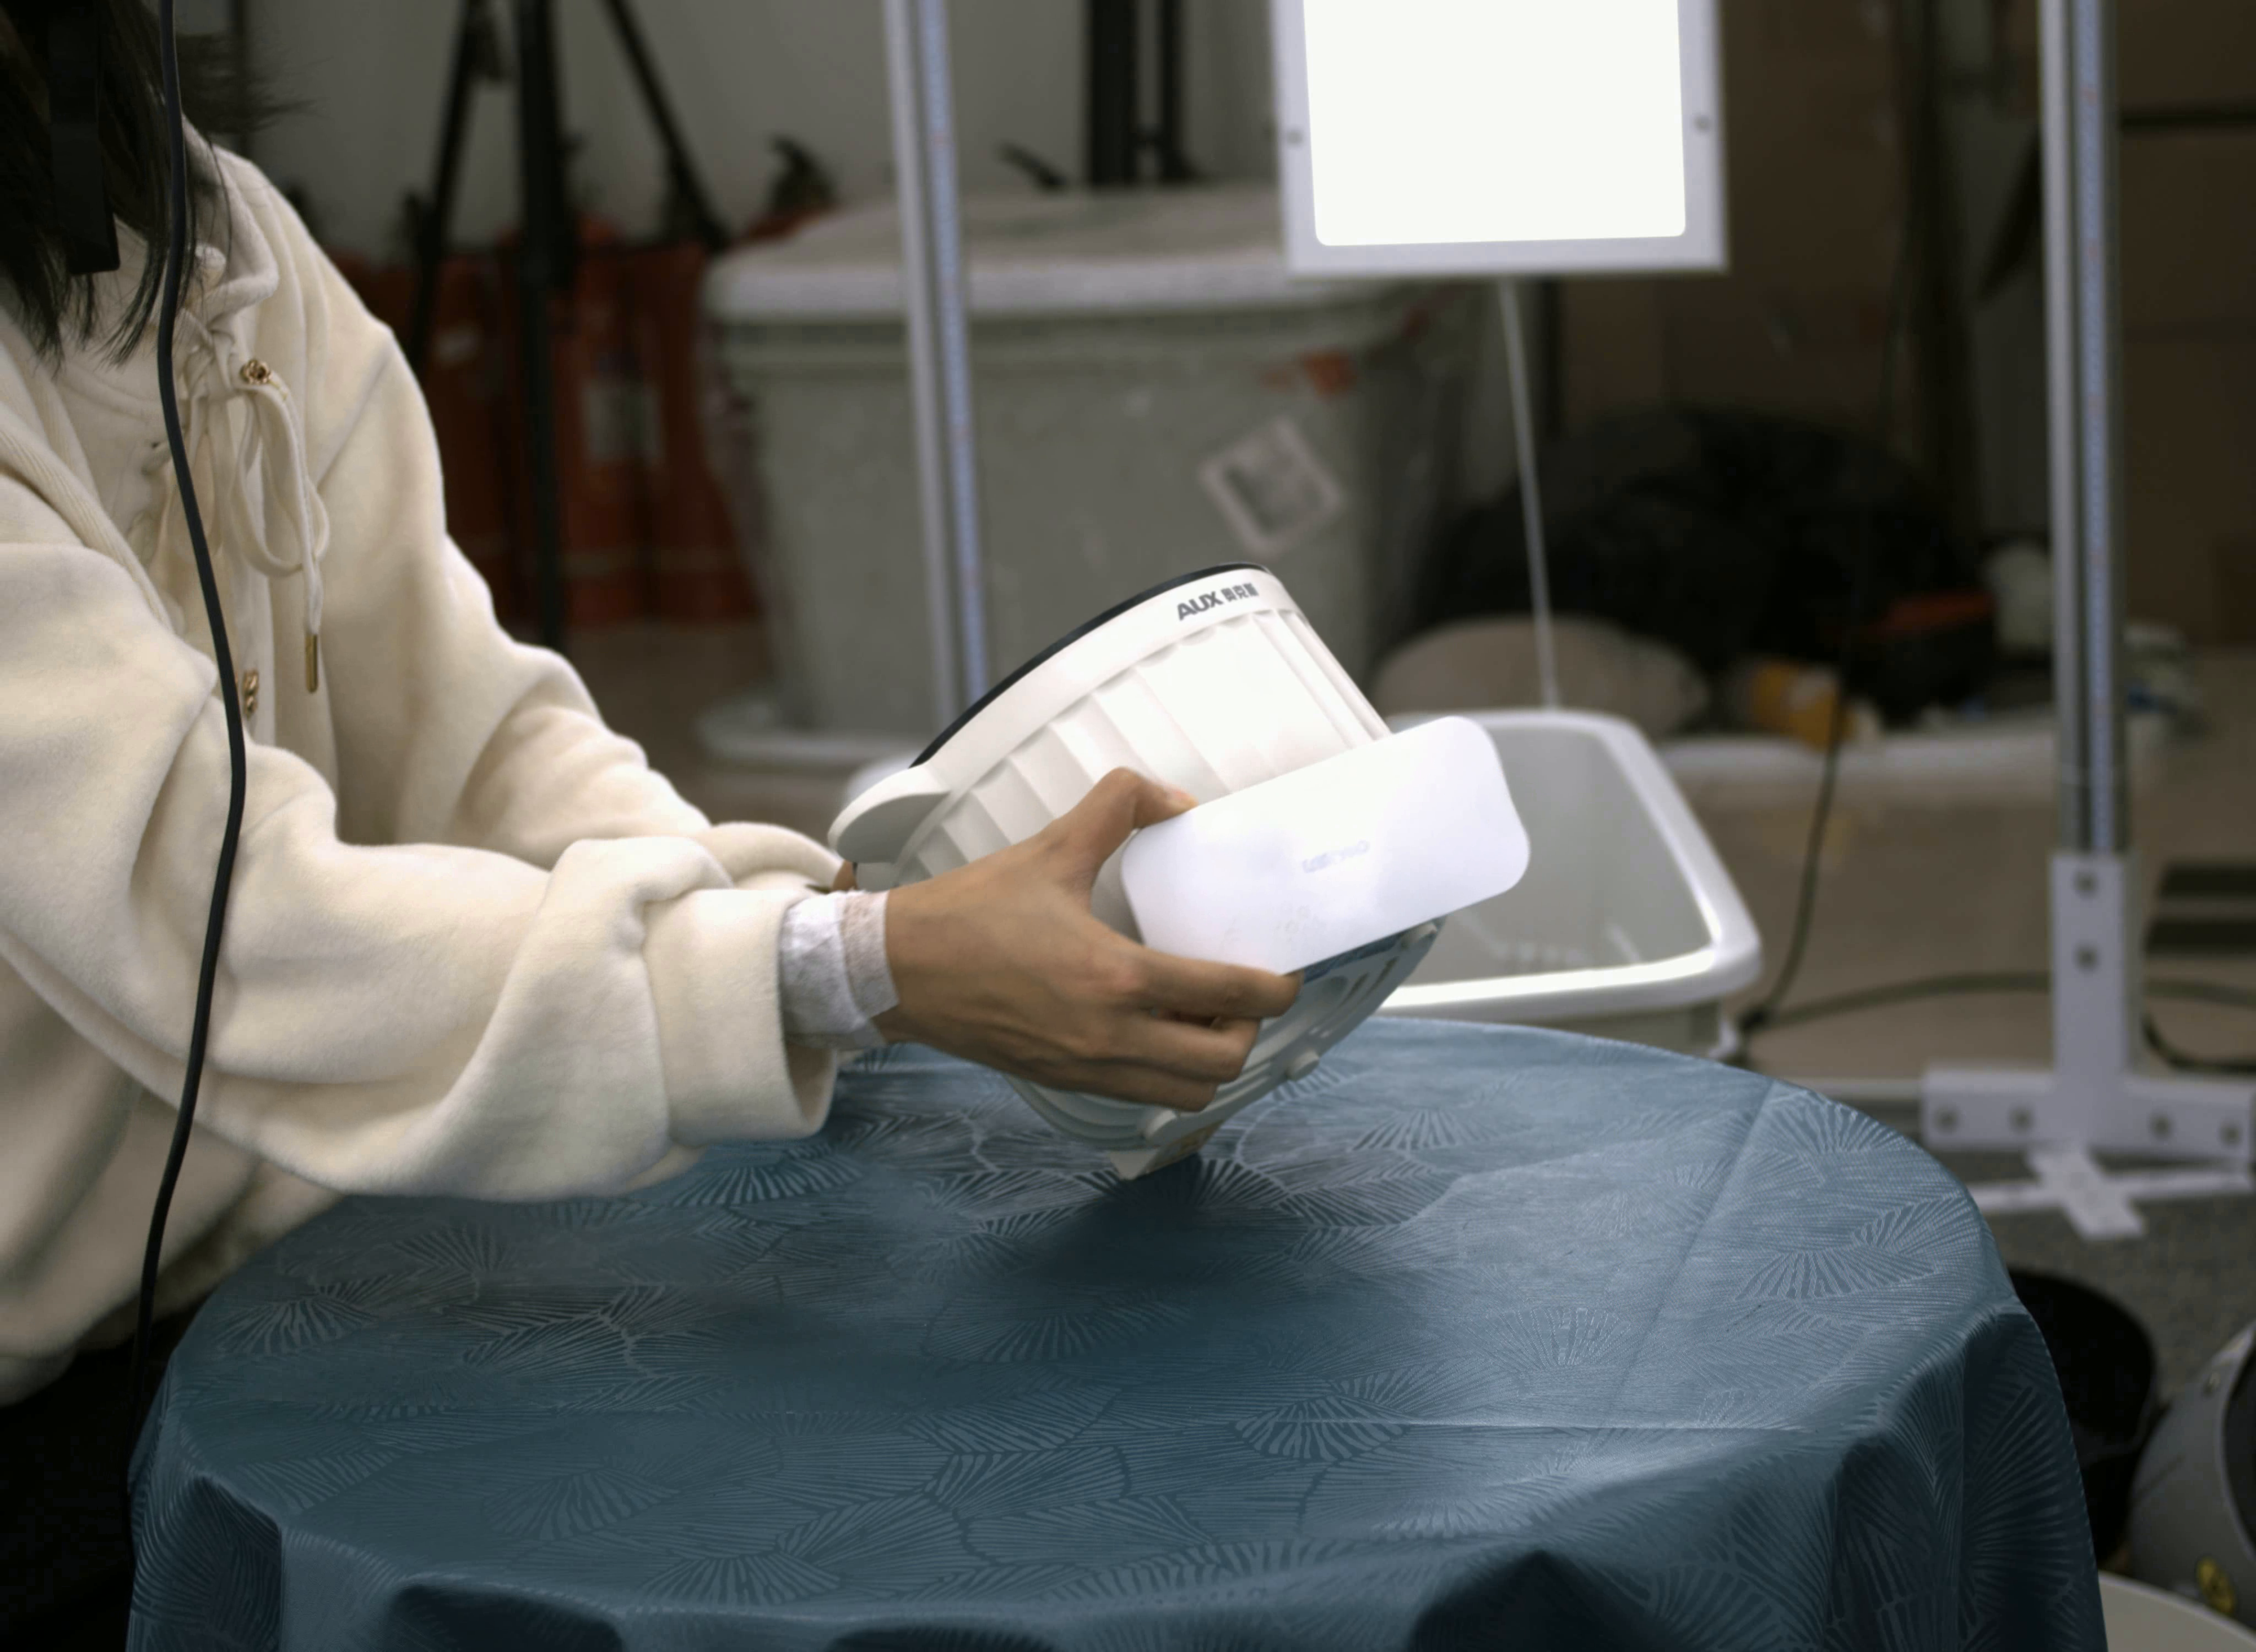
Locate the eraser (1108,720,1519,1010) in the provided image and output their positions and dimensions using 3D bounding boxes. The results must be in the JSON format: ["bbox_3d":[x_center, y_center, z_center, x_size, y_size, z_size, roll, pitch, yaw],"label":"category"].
[{"bbox_3d":[0.059,0.012,1.780,0.130,0.063,0.035,-20,-4,-7],"label":"eraser"}]

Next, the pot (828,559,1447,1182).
[{"bbox_3d":[0.020,0.015,1.884,0.234,0.194,0.144,-20,63,-46],"label":"pot"}]
